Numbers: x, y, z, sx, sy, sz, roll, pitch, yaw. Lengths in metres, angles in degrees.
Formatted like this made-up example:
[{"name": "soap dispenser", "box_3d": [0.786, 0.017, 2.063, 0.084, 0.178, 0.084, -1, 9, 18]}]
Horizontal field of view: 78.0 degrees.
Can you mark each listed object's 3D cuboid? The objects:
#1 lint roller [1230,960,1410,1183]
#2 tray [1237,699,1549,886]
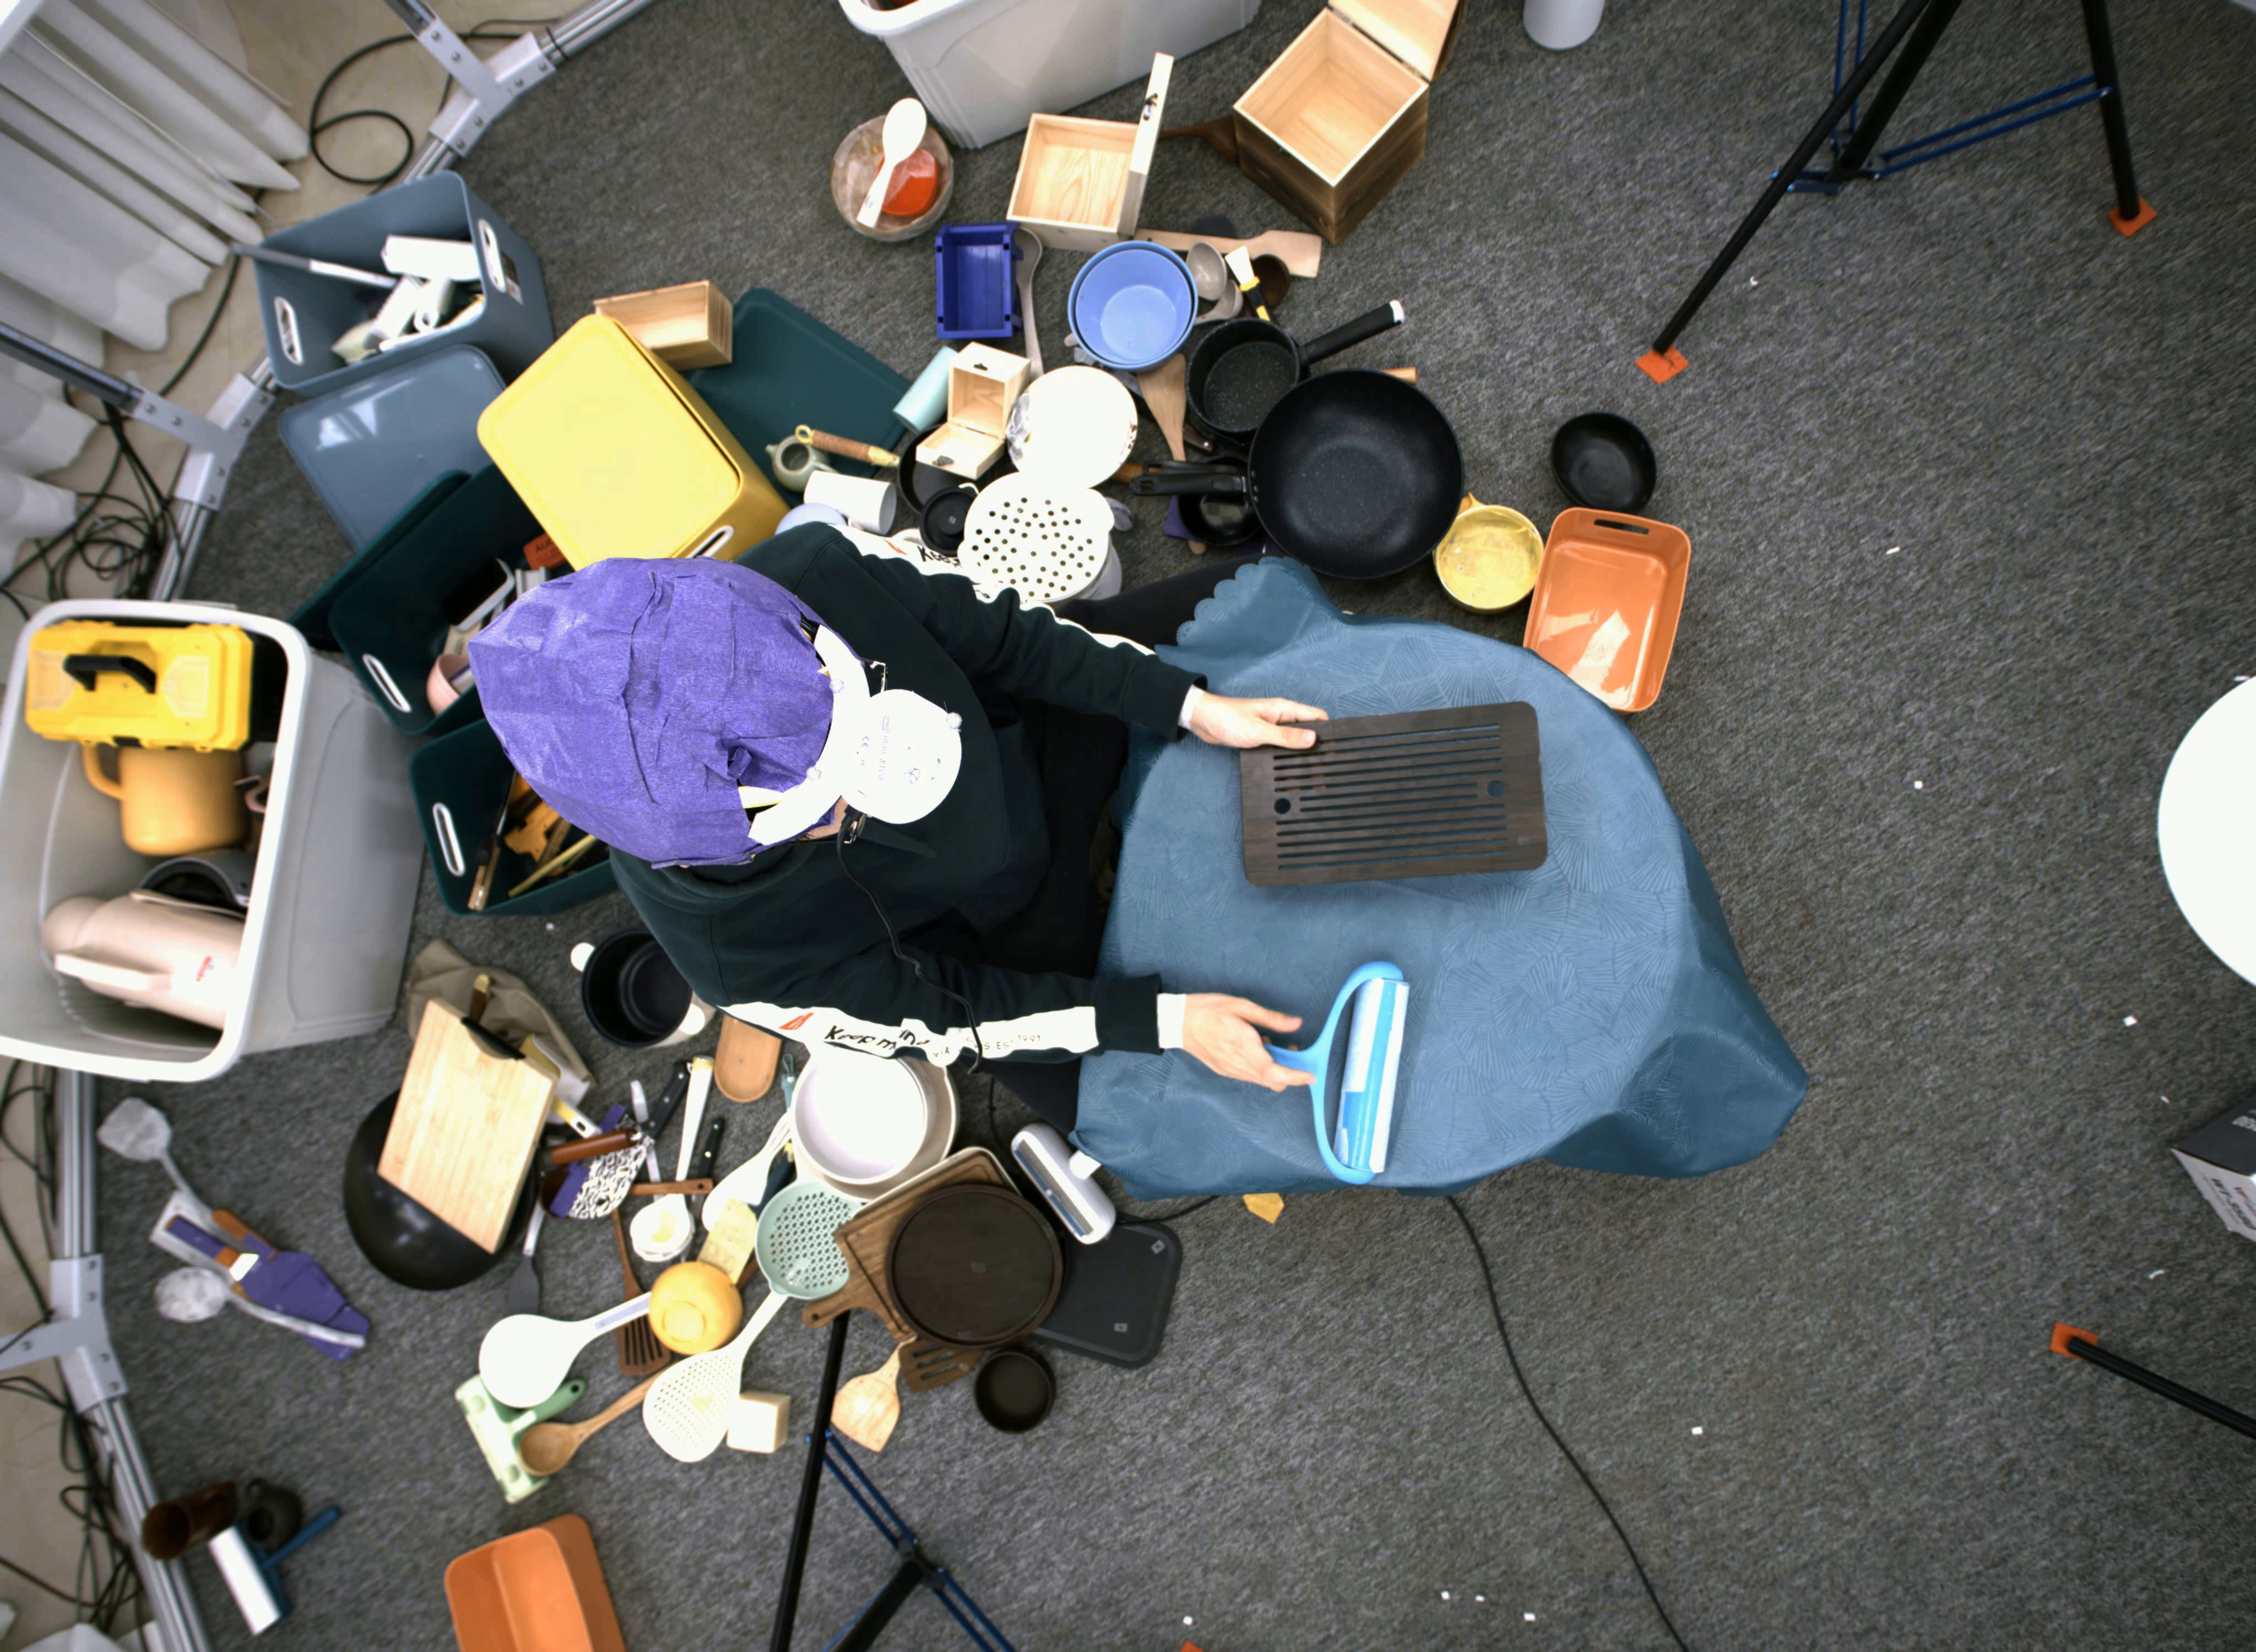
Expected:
[{"name": "lint roller", "box_3d": [0.192, 0.245, 1.432, 0.181, 0.068, 0.228, 5, 90, 9]}, {"name": "tray", "box_3d": [0.265, -0.033, 1.401, 0.308, 0.018, 0.169, -5, 86, 17]}]
